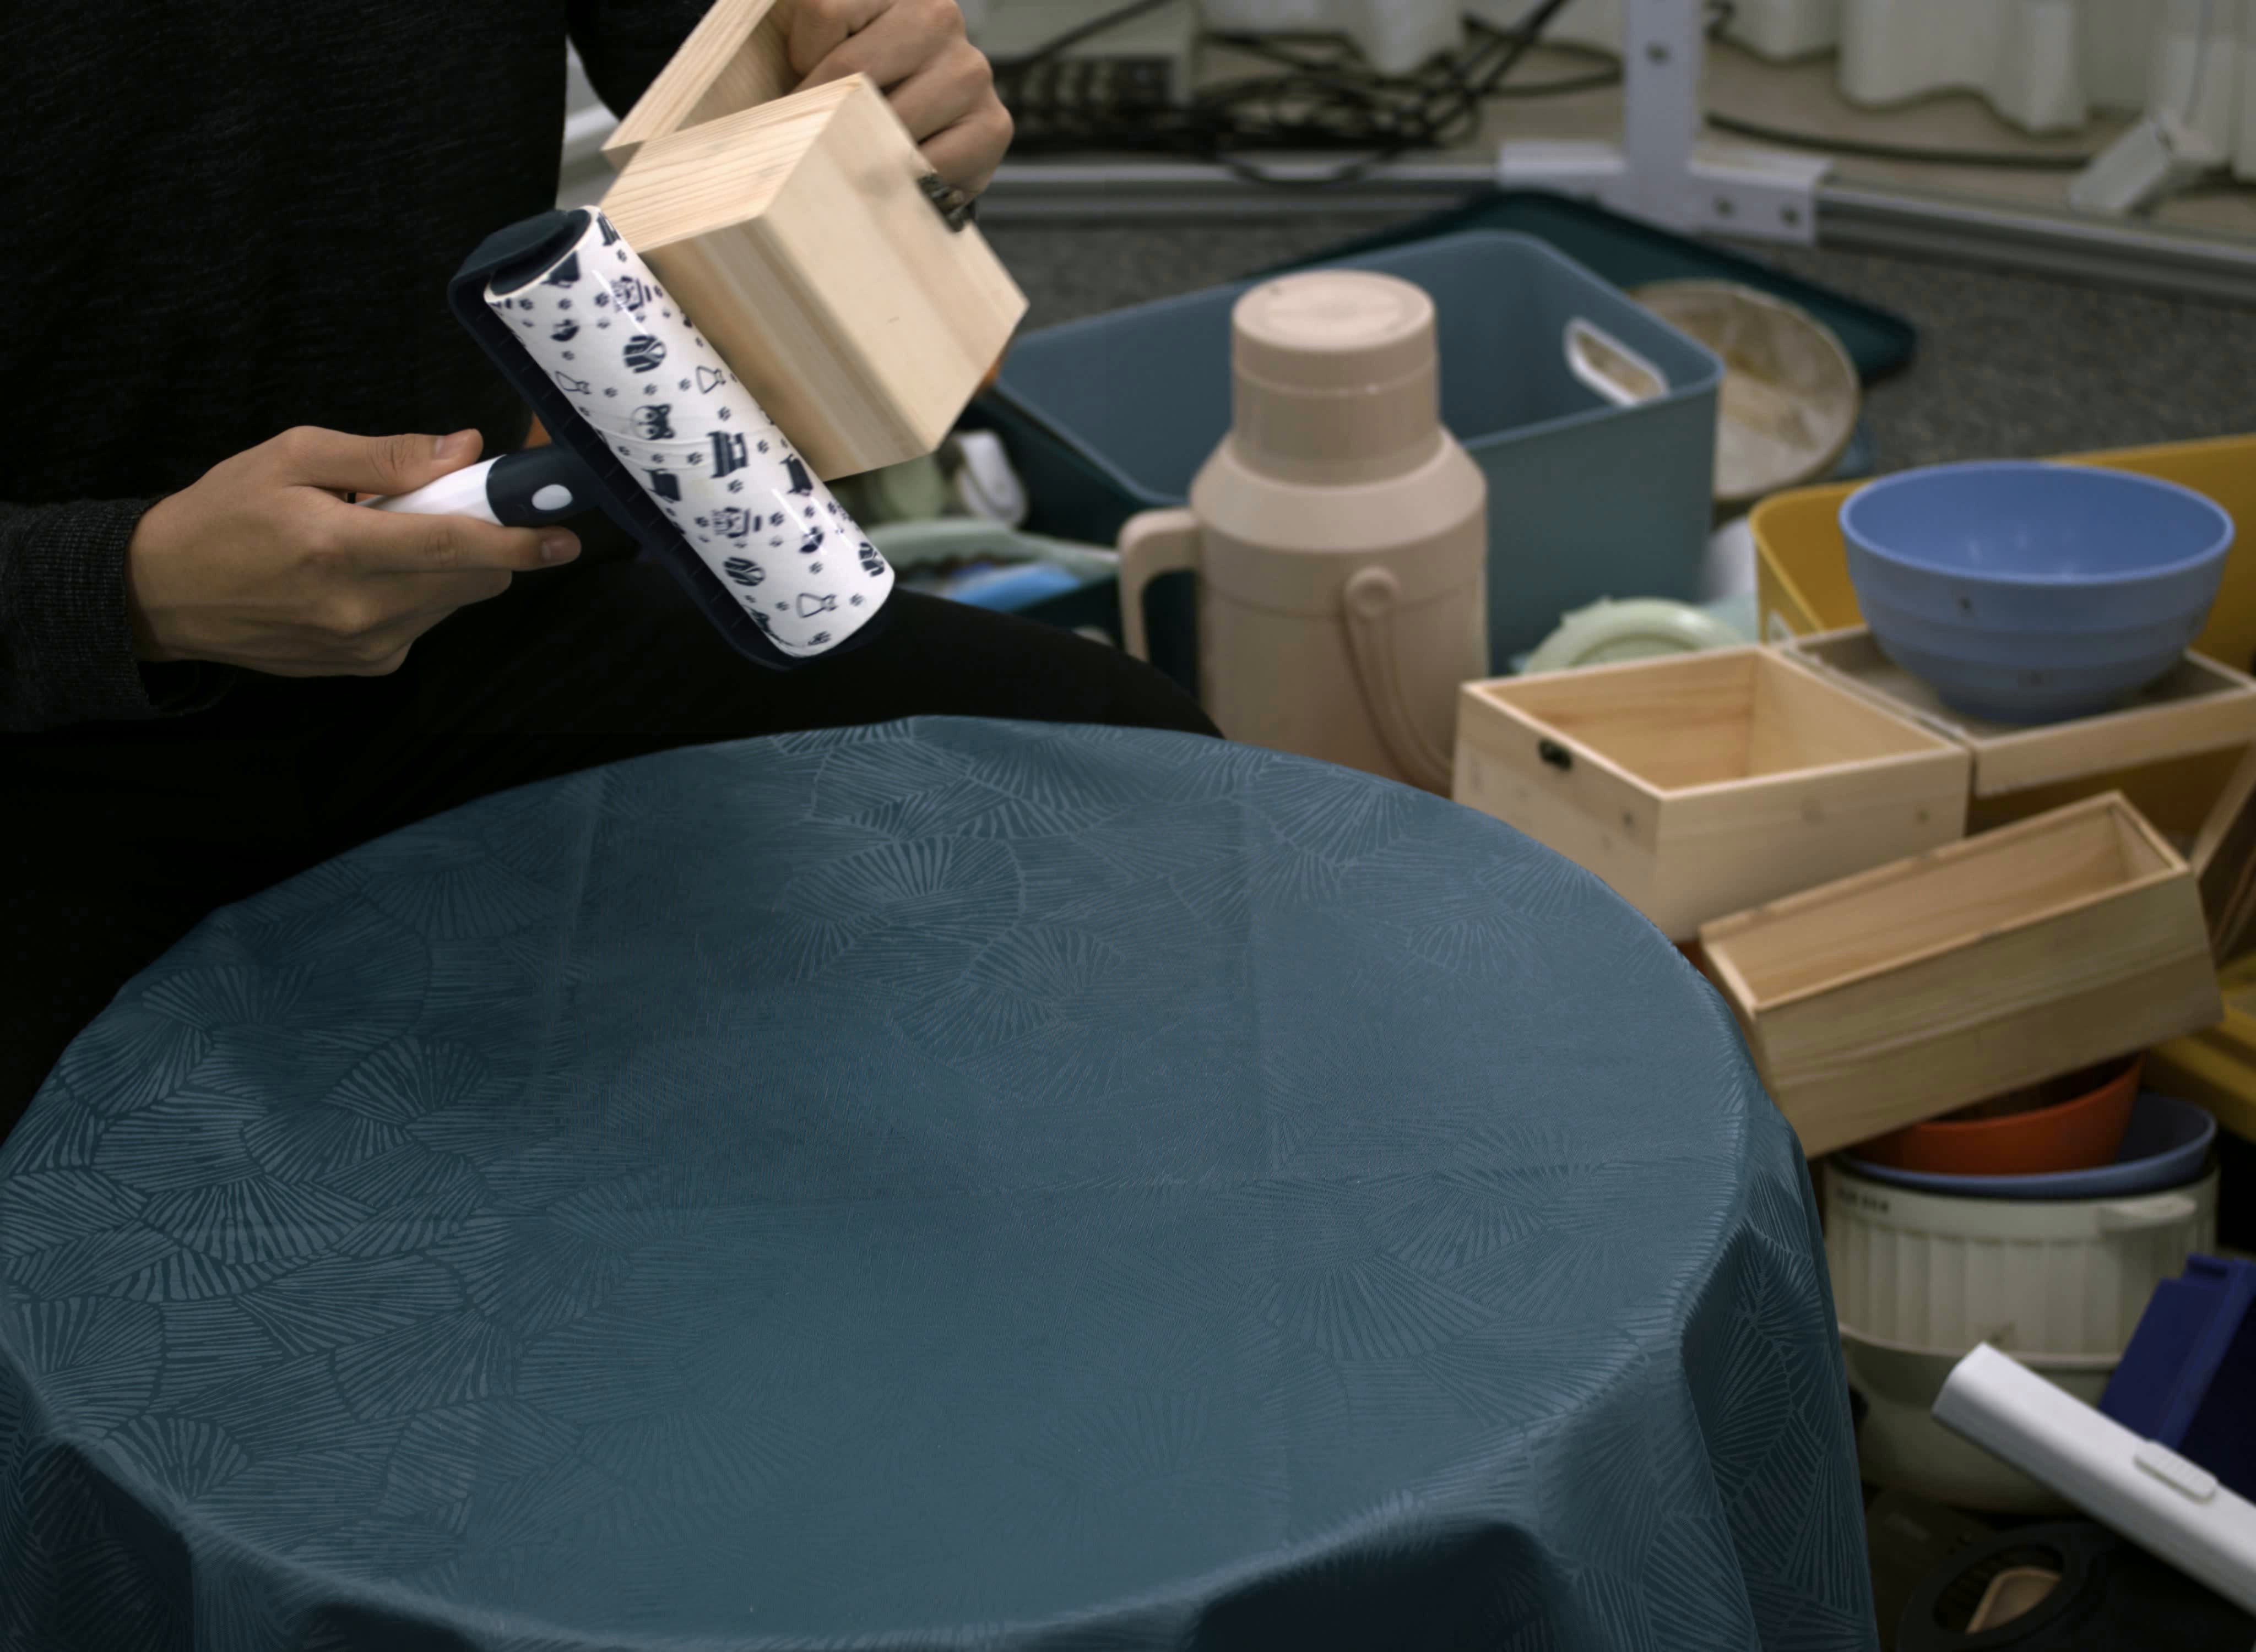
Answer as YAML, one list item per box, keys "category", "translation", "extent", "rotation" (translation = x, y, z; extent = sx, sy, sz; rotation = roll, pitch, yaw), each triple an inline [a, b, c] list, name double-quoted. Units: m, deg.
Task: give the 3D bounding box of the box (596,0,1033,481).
- category: "box"
  translation: [-0.096, -0.211, 1.895]
  extent: [0.132, 0.102, 0.188]
  rotation: [-13, 34, 38]

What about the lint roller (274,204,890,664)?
- category: "lint roller"
  translation: [-0.211, -0.107, 1.894]
  extent: [0.243, 0.175, 0.051]
  rotation: [-17, 31, 43]
